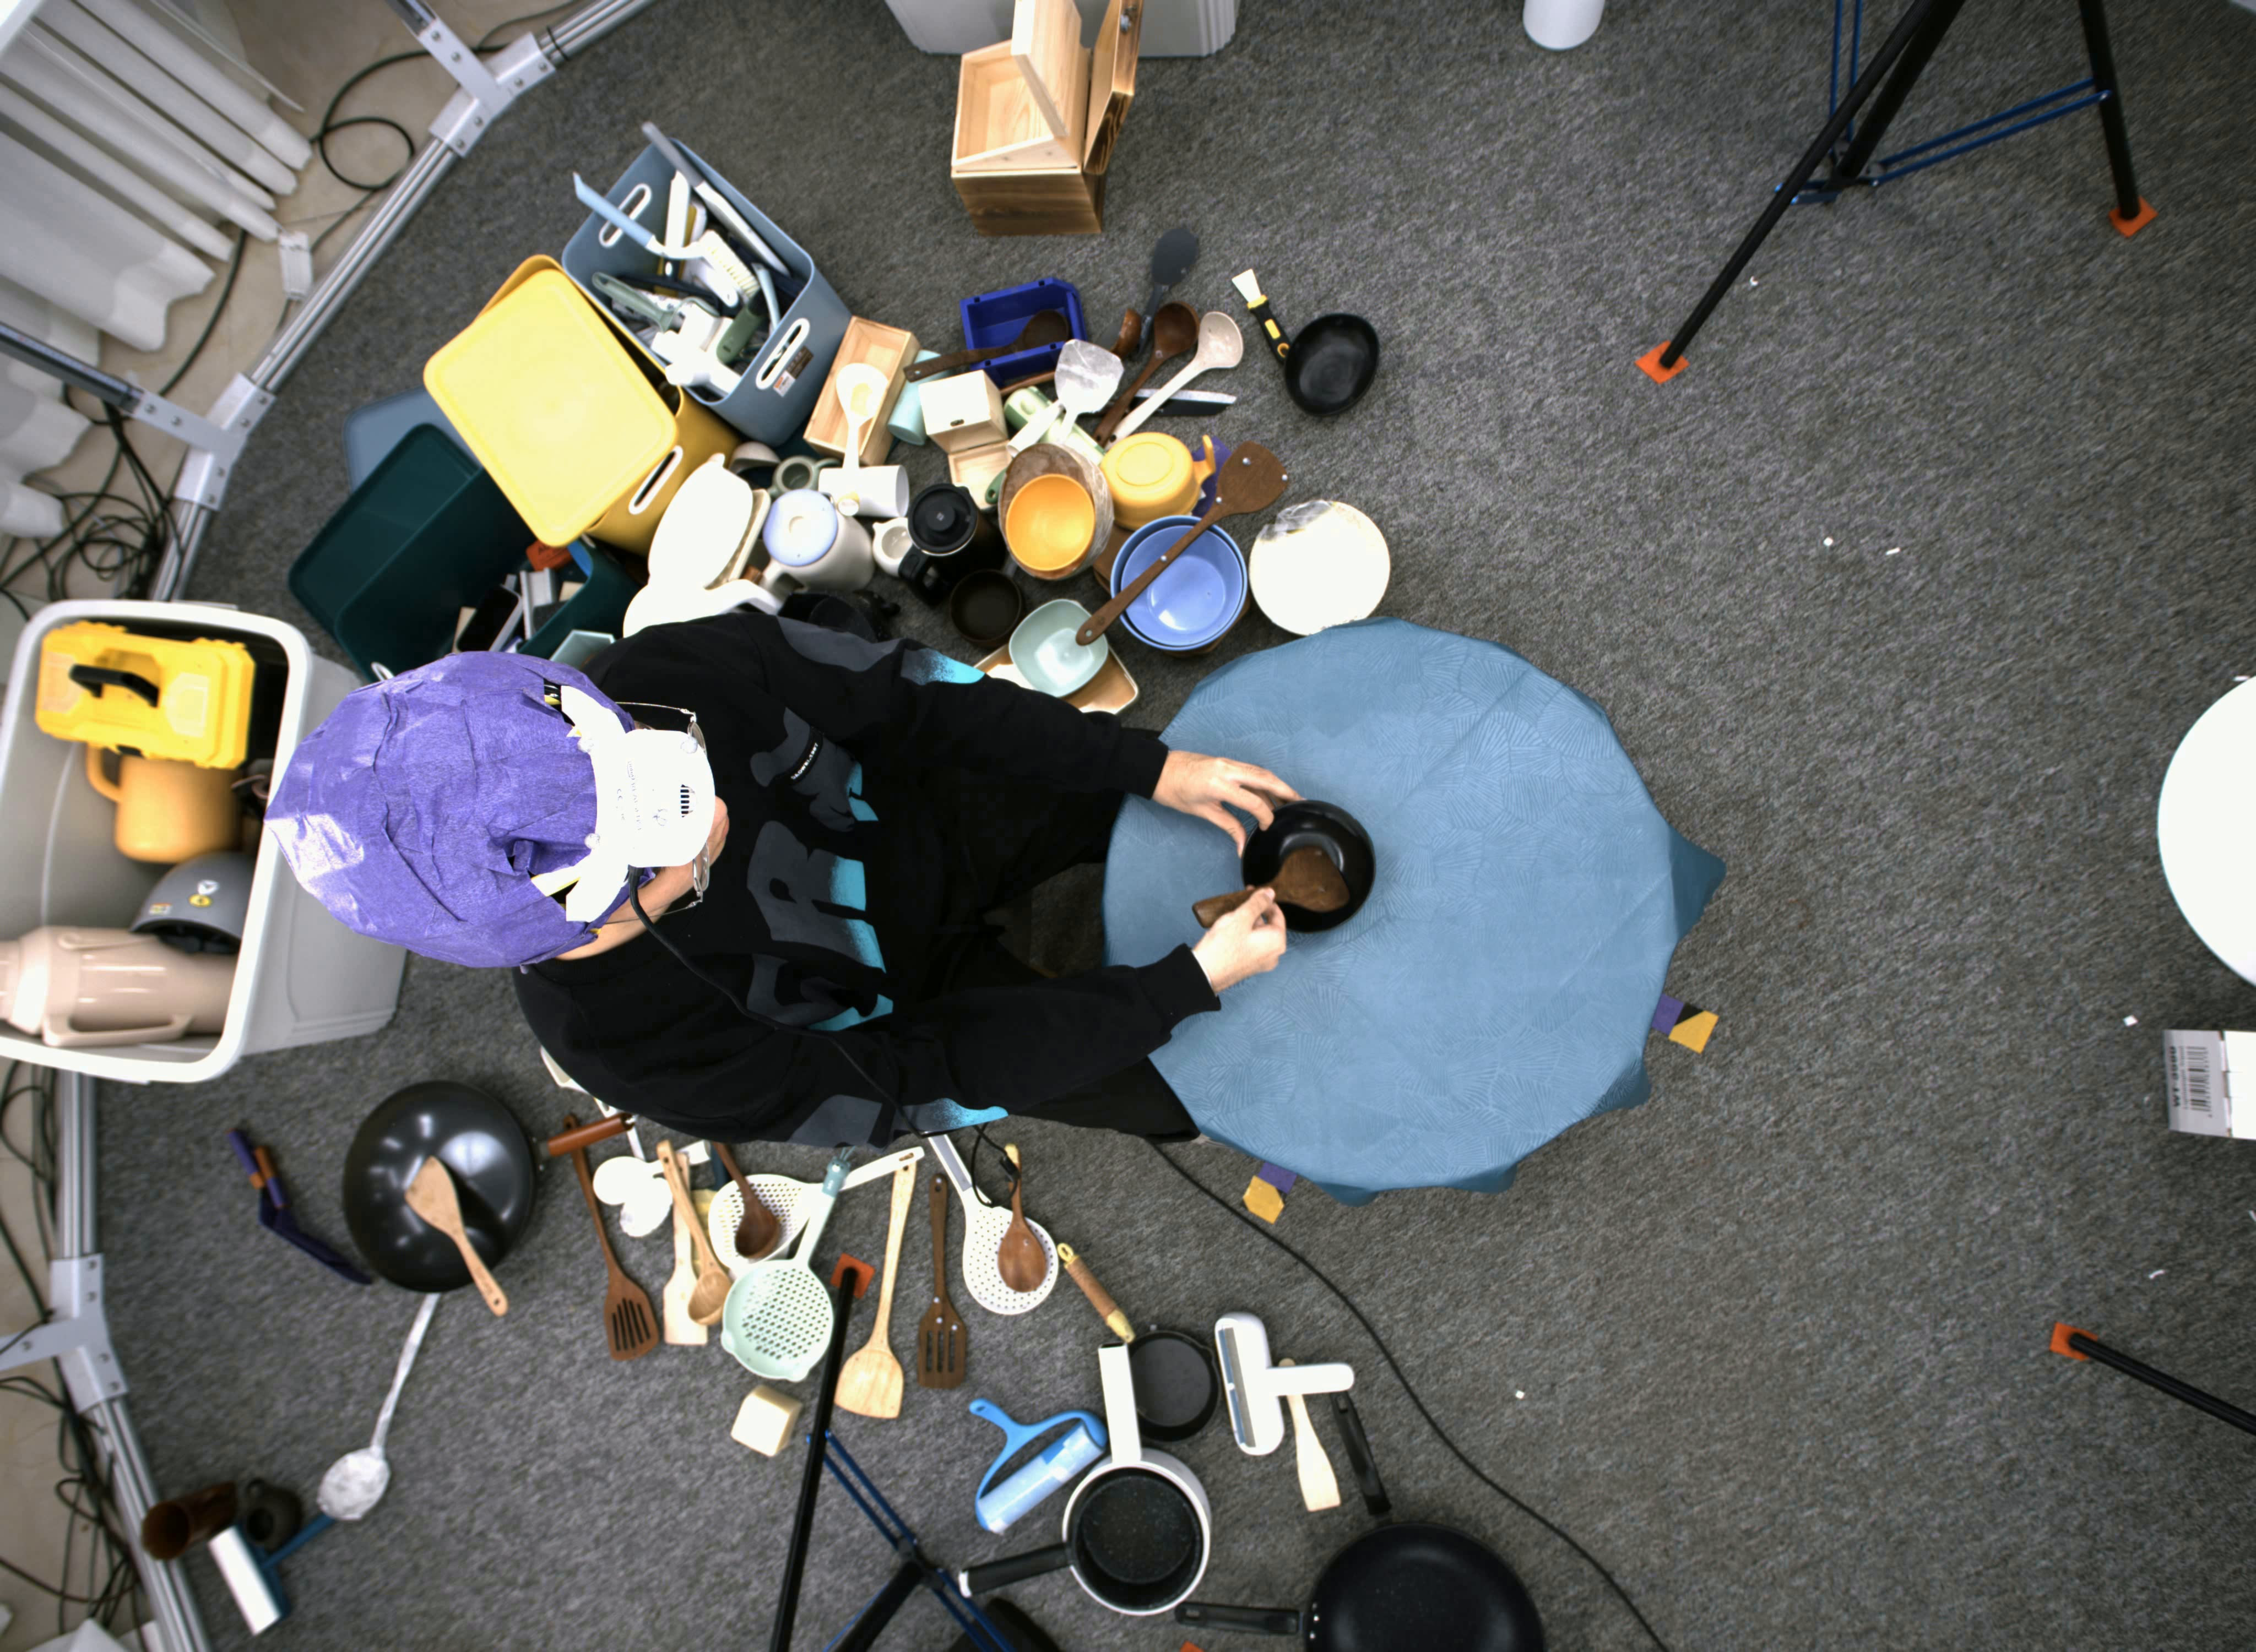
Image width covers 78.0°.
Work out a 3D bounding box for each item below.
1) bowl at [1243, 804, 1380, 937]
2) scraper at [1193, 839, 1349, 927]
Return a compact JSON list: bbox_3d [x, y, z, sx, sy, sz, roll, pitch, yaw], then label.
[{"bbox_3d":[0.191,0.043,1.440,0.140,0.049,0.141,1,99,9],"label":"bowl"},{"bbox_3d":[0.141,0.064,1.387,0.011,0.208,0.075,-38,73,47],"label":"scraper"}]
